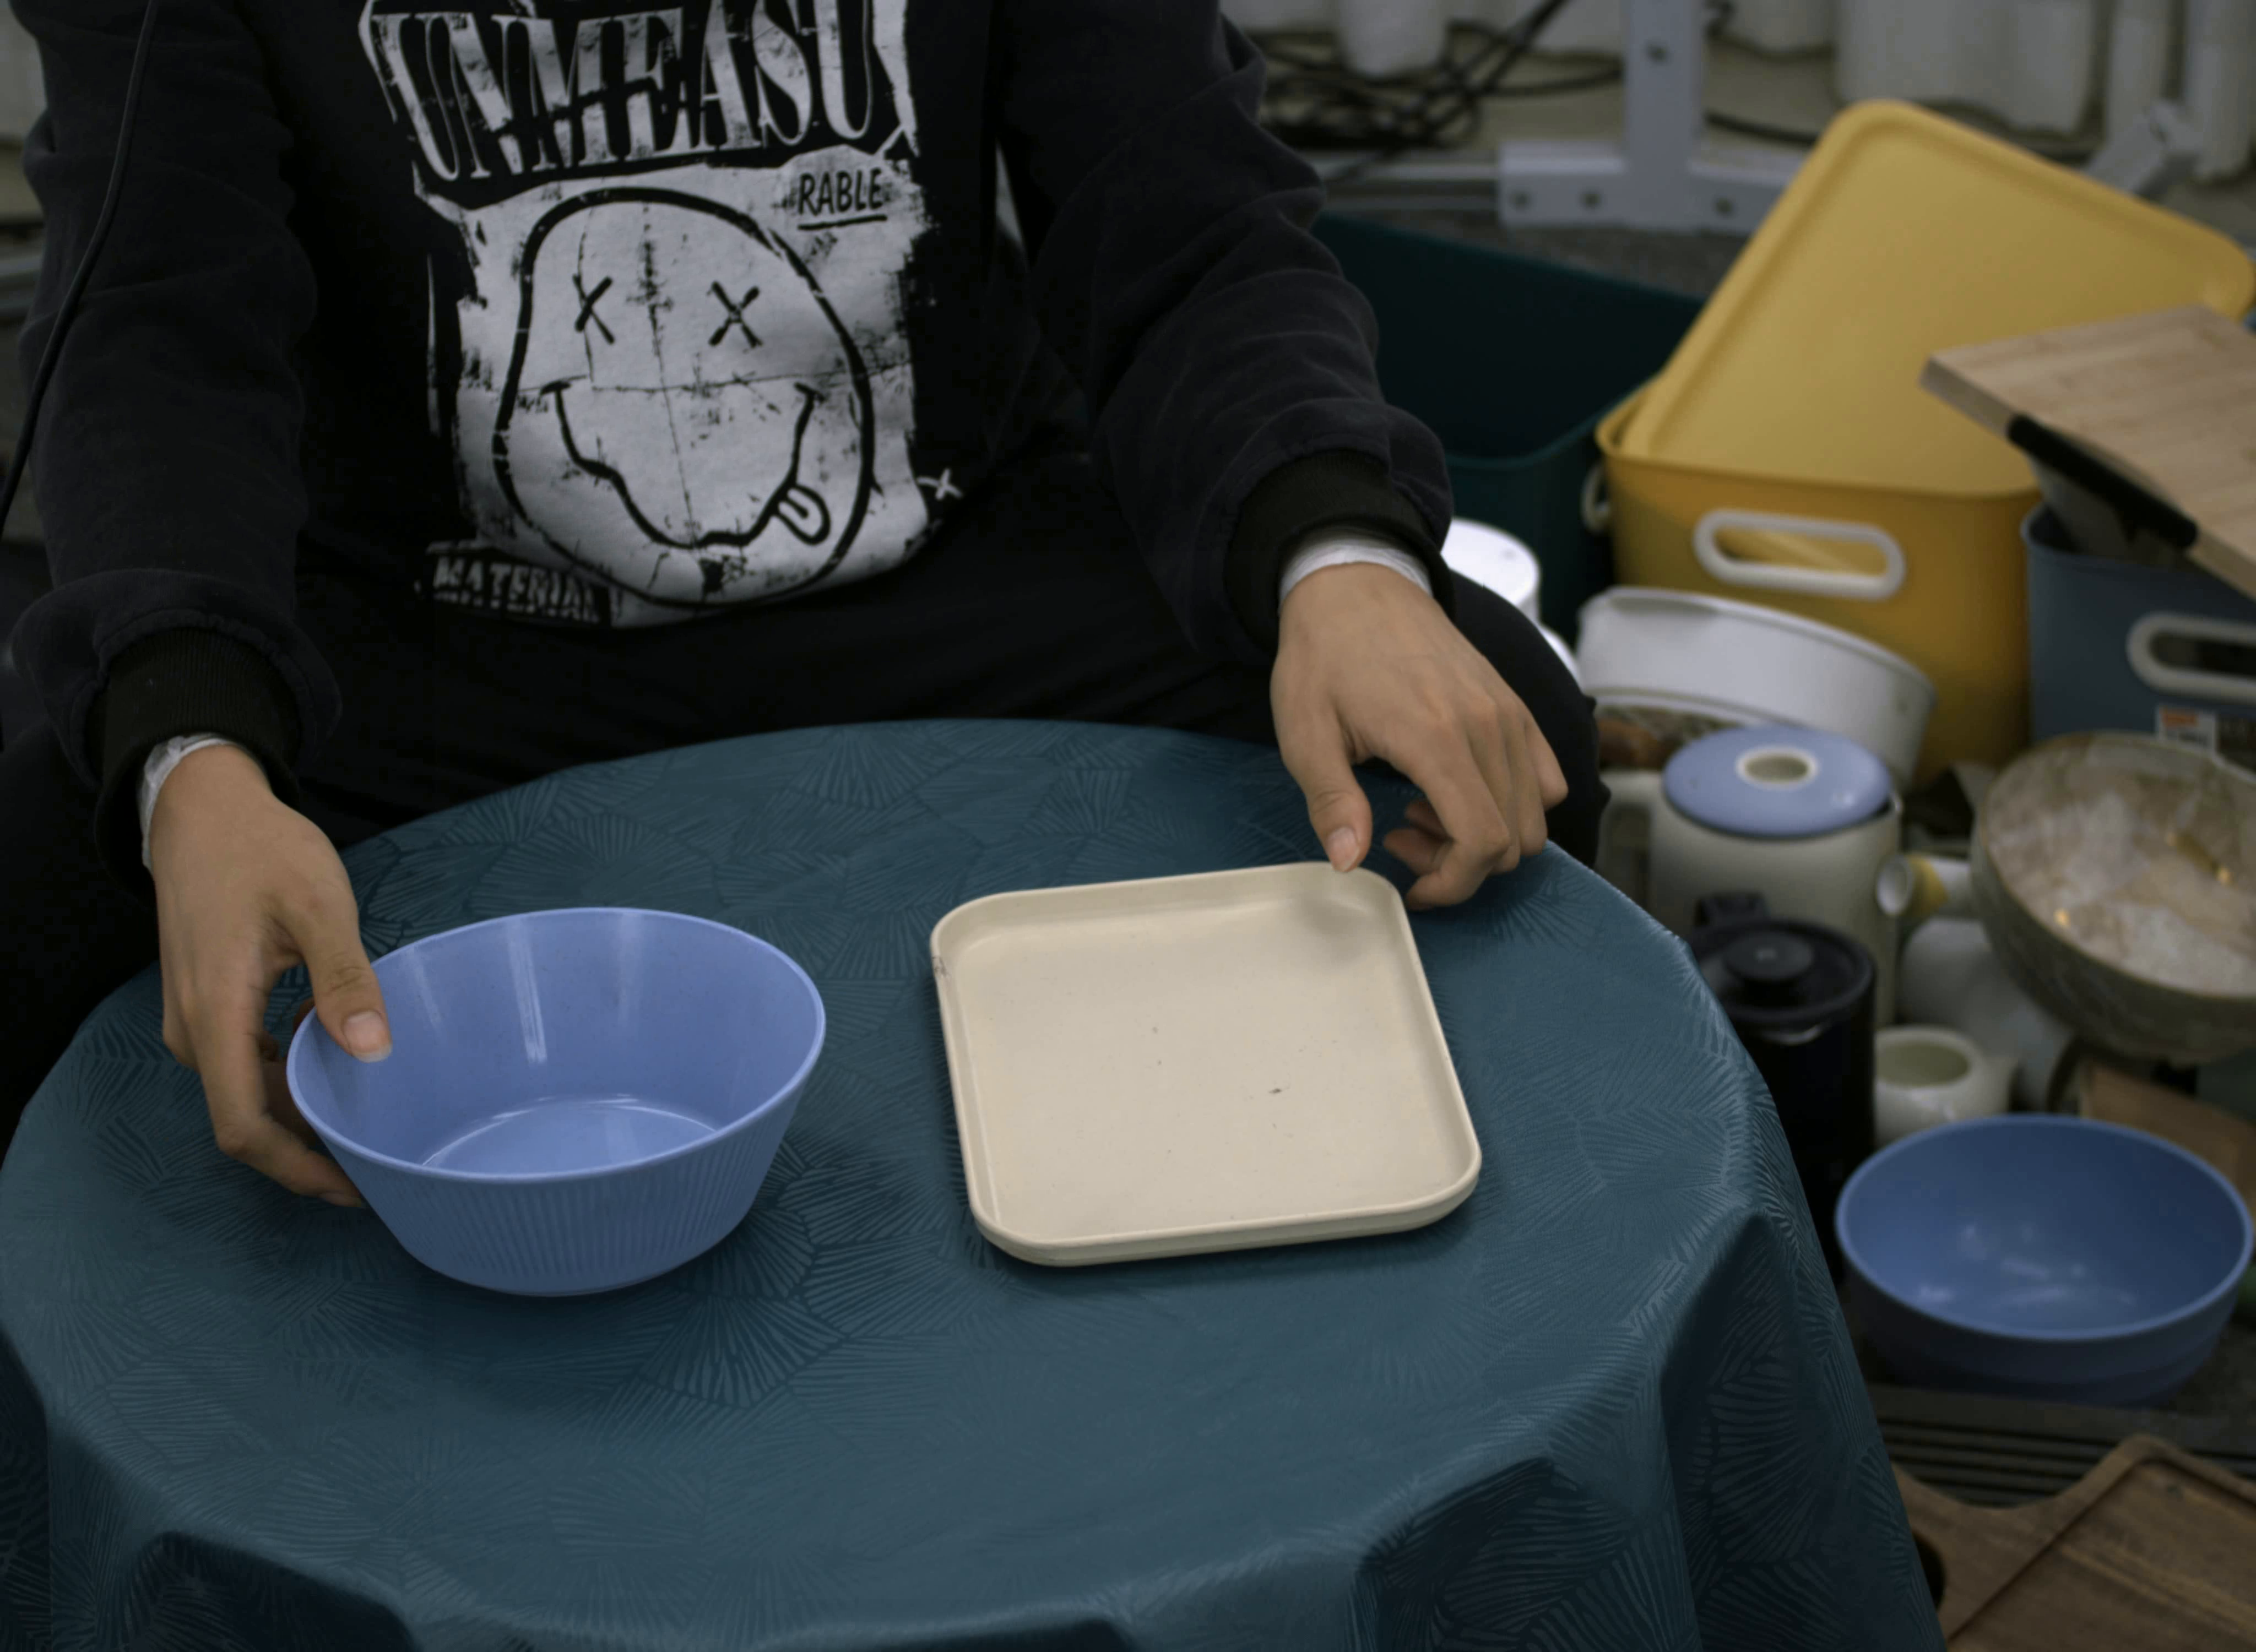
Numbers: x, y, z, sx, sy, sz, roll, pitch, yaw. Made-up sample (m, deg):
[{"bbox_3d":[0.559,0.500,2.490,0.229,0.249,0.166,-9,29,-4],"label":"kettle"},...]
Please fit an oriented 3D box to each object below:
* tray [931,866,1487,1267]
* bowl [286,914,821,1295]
[{"bbox_3d":[0.024,0.081,1.918,0.171,0.017,0.243,-5,27,-4],"label":"tray"},{"bbox_3d":[-0.186,0.098,1.849,0.175,0.069,0.179,-2,26,1],"label":"bowl"}]
